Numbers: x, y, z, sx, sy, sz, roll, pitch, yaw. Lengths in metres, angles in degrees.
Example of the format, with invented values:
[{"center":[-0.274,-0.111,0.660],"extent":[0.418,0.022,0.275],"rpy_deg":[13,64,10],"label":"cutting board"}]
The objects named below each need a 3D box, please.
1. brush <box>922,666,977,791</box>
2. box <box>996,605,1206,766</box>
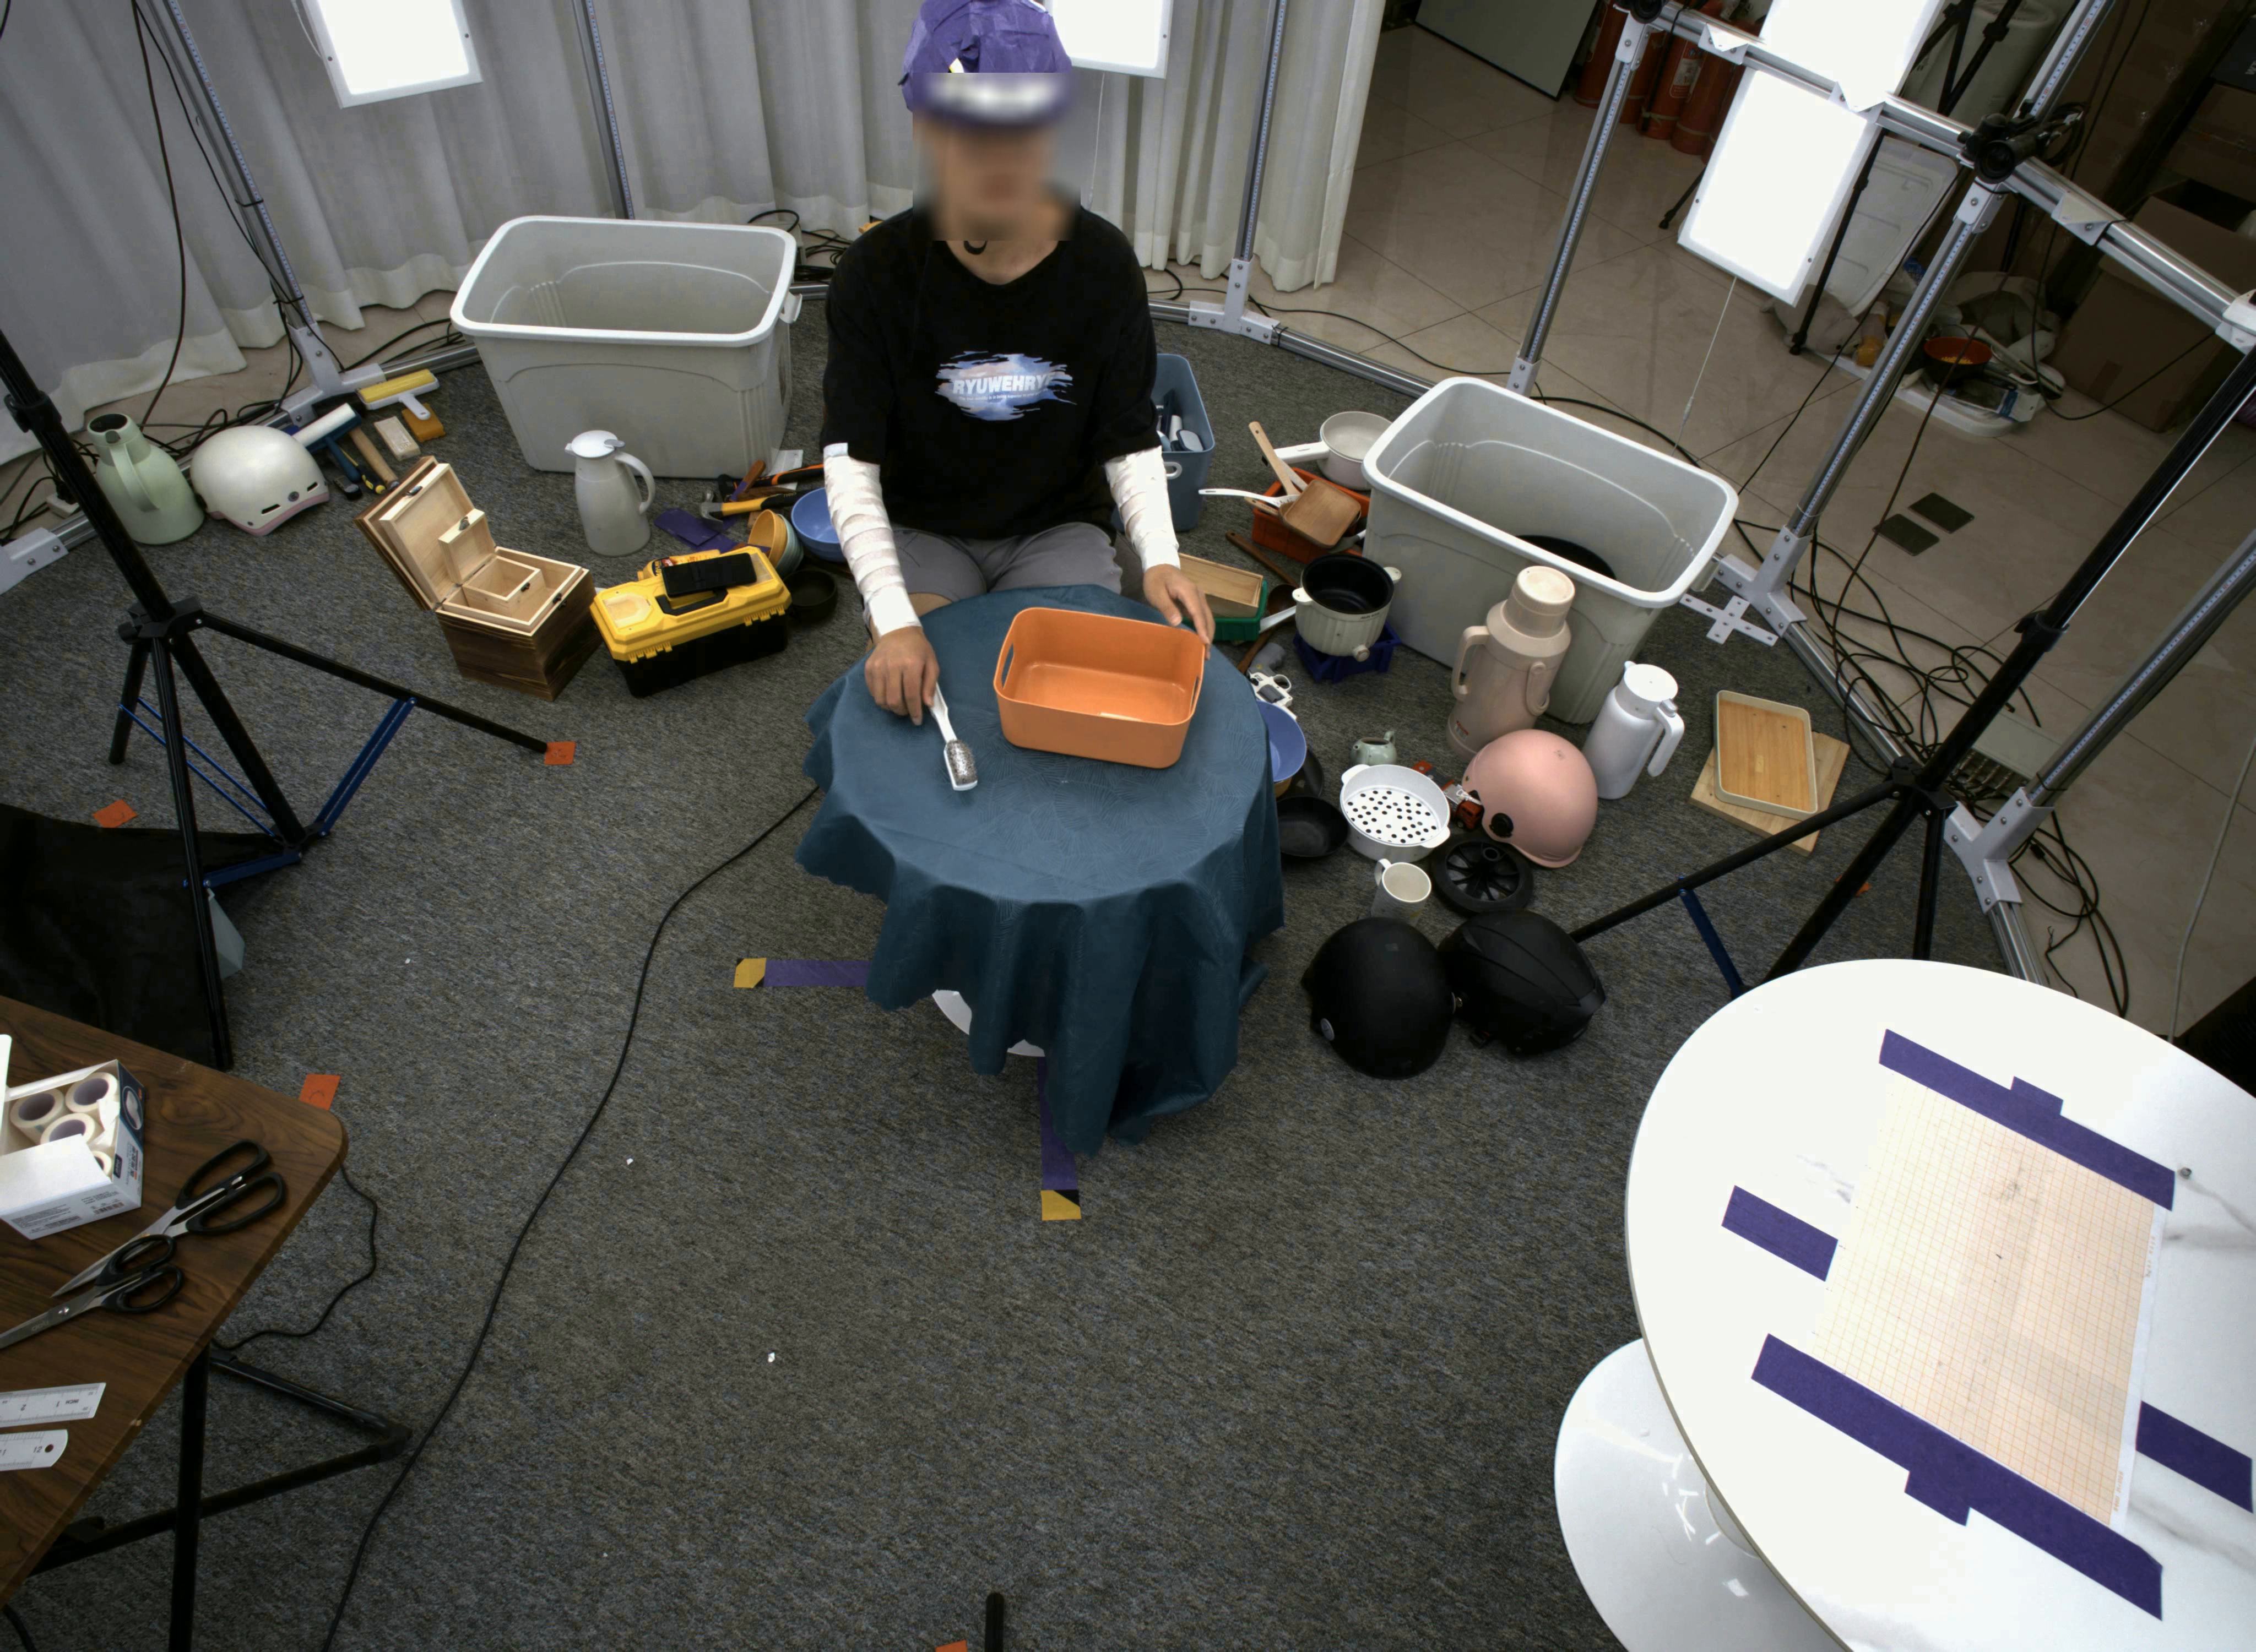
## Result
[{"center":[-0.247,-0.146,1.752],"extent":[0.034,0.049,0.249],"rpy_deg":[-10,52,-13],"label":"brush"},{"center":[-0.037,-0.191,1.766],"extent":[0.273,0.100,0.204],"rpy_deg":[9,50,3],"label":"box"}]
